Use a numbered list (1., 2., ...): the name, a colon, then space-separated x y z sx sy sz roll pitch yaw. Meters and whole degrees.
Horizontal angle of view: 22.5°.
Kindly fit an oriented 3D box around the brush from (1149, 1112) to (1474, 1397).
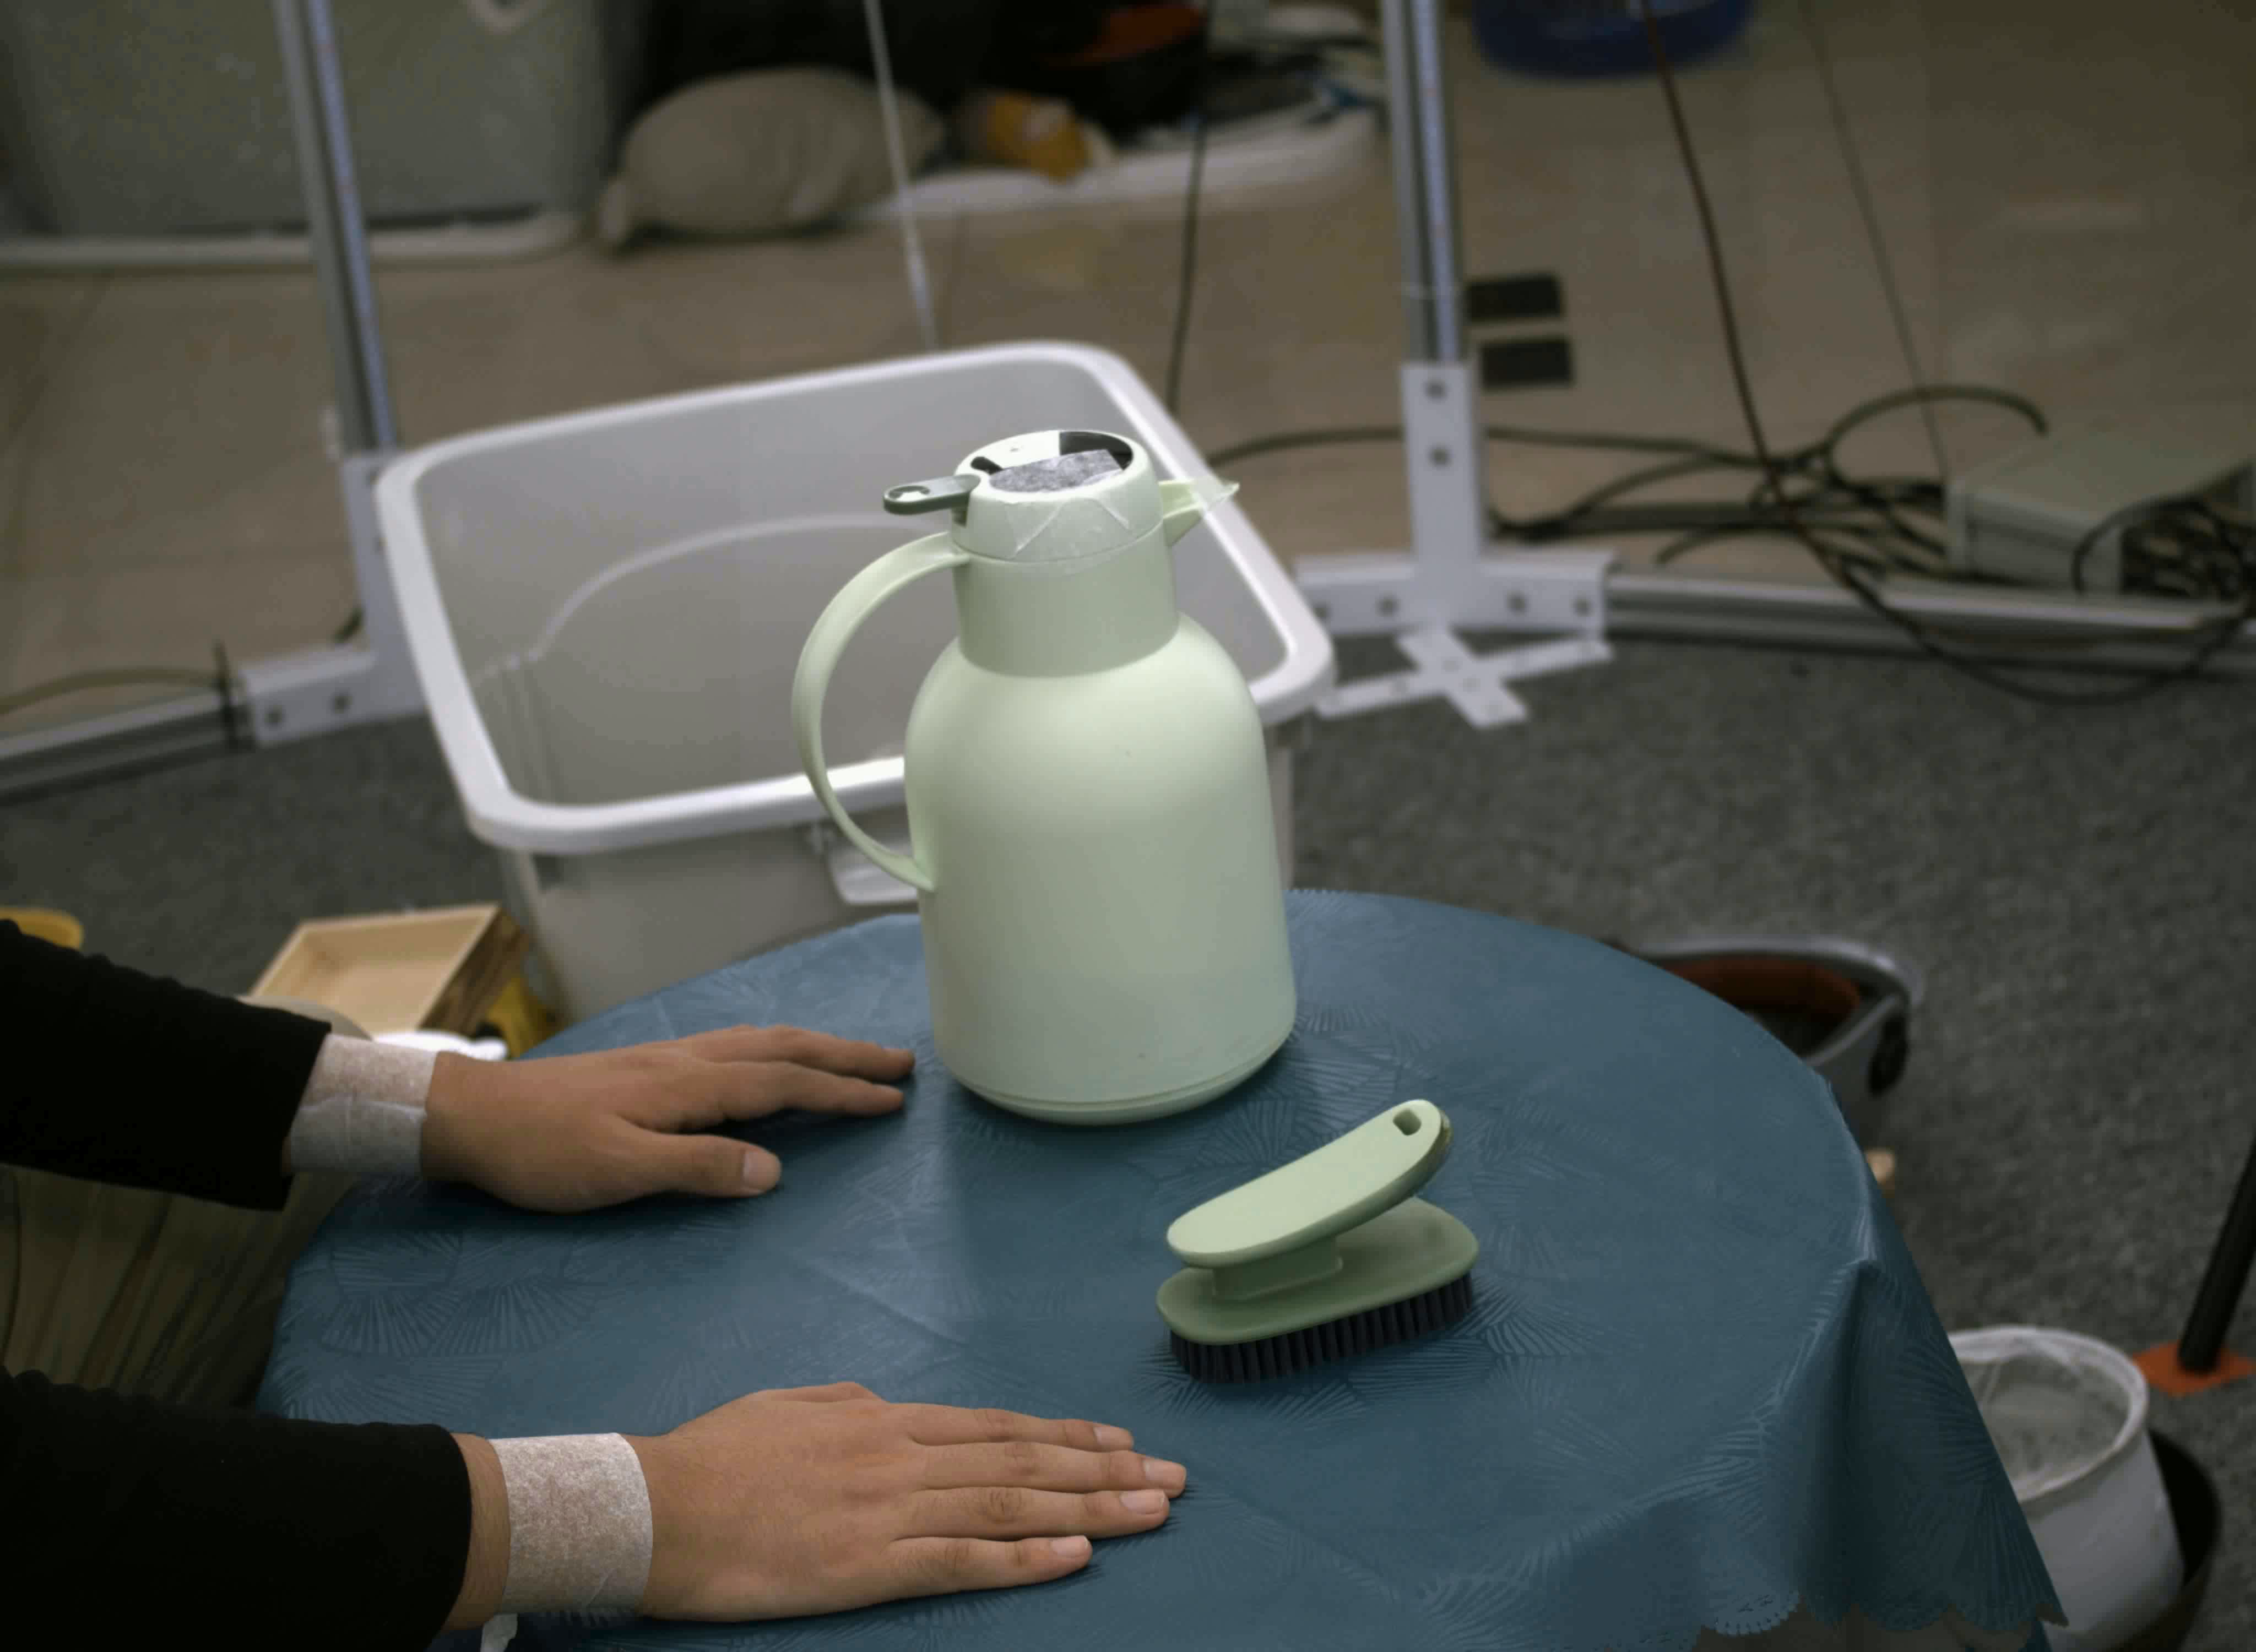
1. brush: 0.067 0.159 2.035 0.123 0.077 0.059 -28 30 -4

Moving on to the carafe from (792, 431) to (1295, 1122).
1. carafe: -0.031 -0.020 2.189 0.186 0.261 0.142 -16 27 -14
